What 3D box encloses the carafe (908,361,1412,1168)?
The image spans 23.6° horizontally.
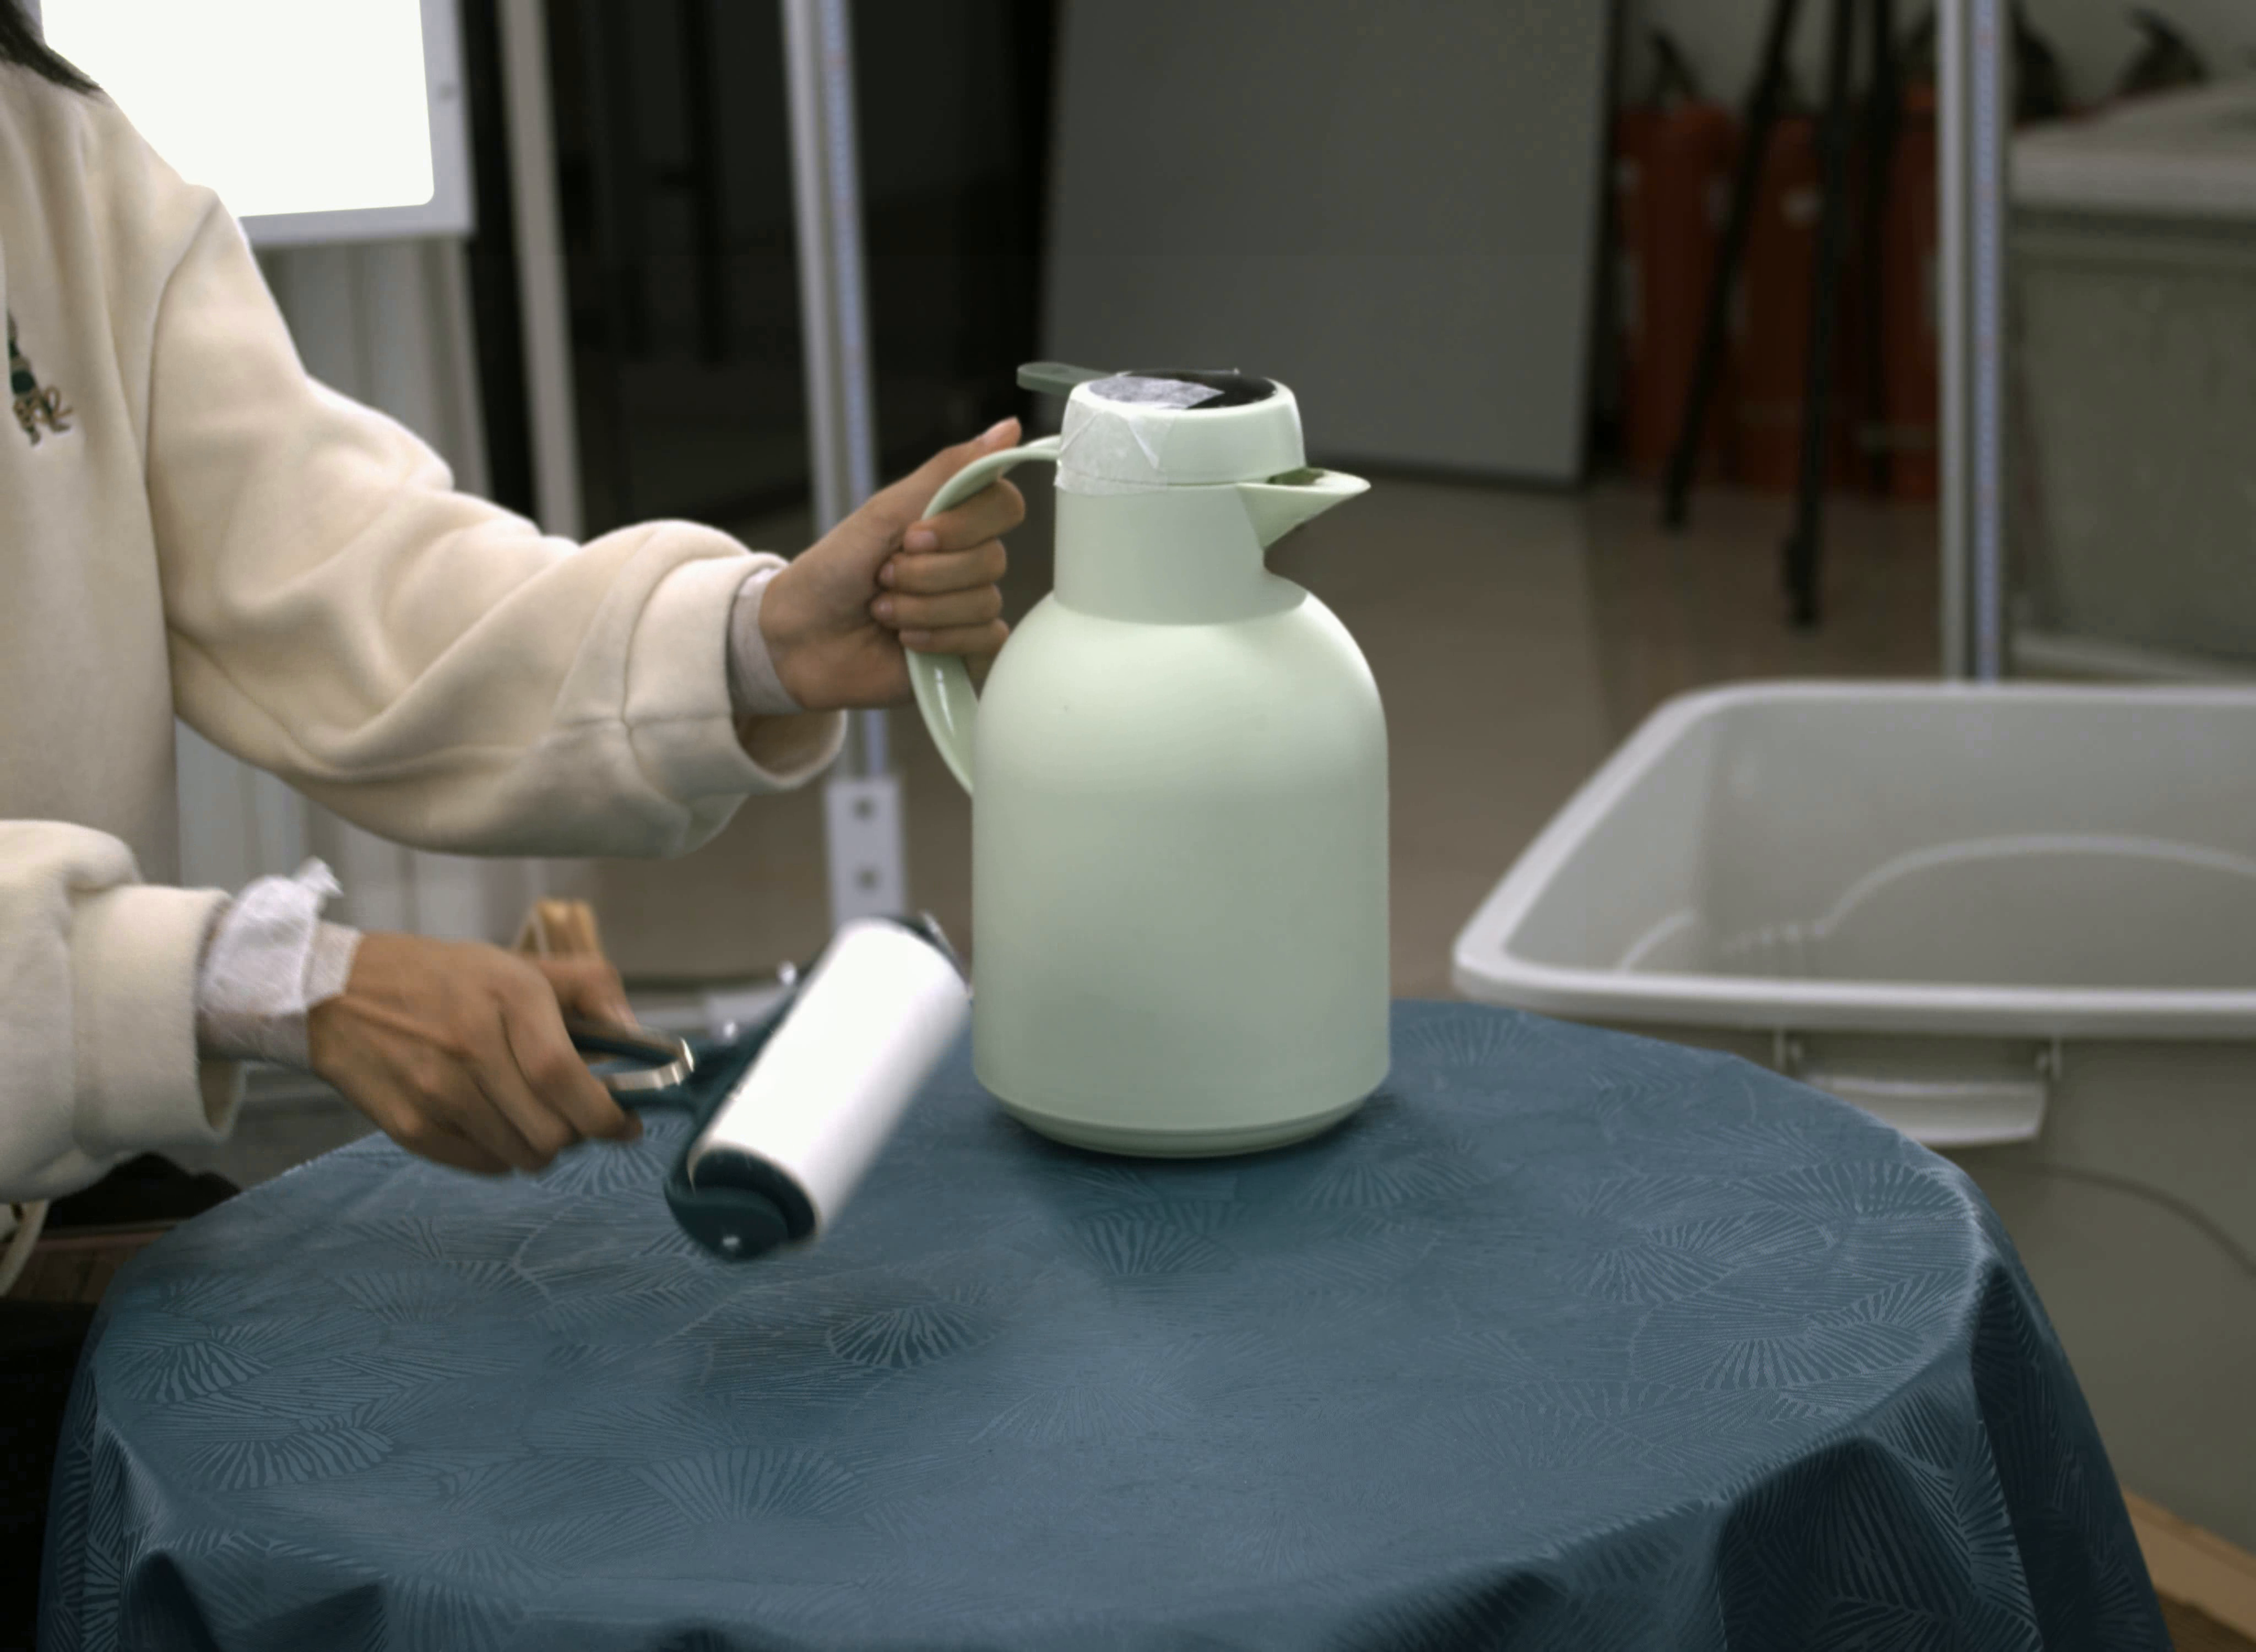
[{"bbox_3d":[0.009,-0.026,1.827,0.188,0.259,0.141,5,17,38],"label":"carafe"}]

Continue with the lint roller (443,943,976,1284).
[{"bbox_3d":[-0.146,0.078,1.685,0.181,0.048,0.133,9,43,31],"label":"lint roller"}]
